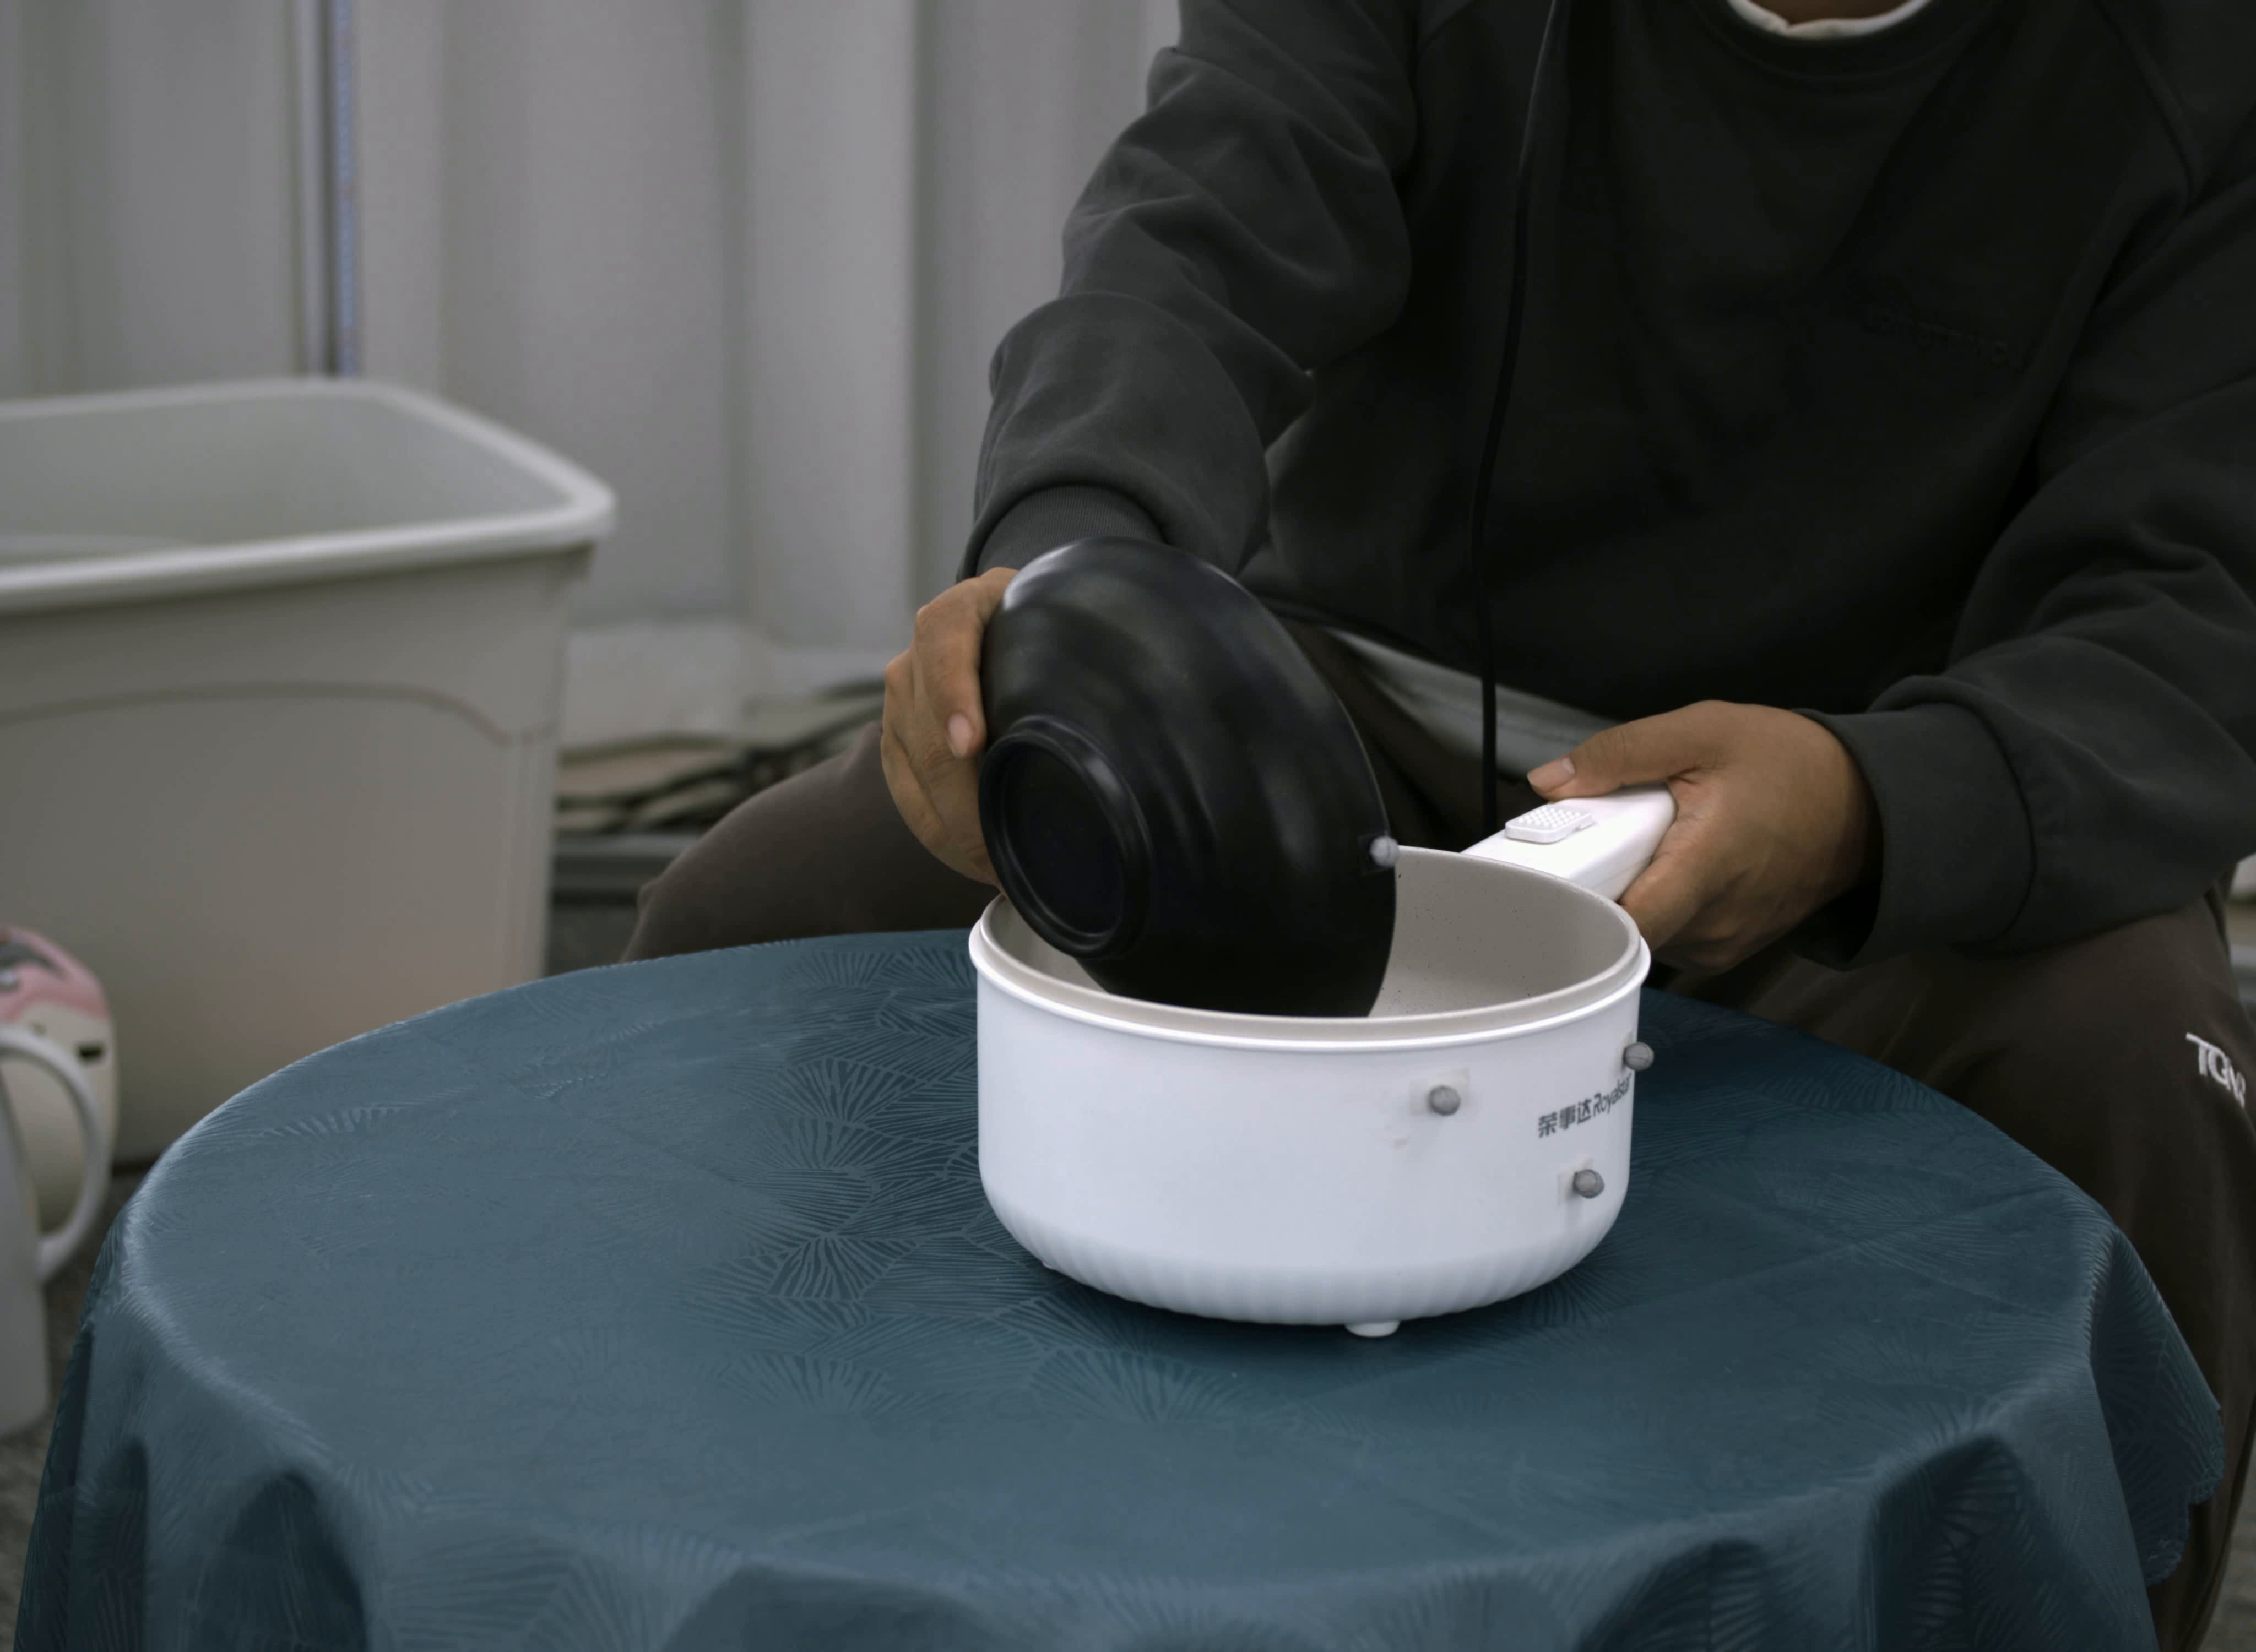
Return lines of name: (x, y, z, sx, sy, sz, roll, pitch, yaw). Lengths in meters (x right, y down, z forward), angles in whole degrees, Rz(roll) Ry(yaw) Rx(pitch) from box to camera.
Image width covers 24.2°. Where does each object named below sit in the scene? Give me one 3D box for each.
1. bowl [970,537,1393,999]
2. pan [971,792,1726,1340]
bowl: (0.003, -0.004, 1.513, 0.067, 0.138, 0.169, -25, 73, -34)
pan: (0.092, 0.067, 1.630, 0.199, 0.103, 0.356, 7, 14, 29)
